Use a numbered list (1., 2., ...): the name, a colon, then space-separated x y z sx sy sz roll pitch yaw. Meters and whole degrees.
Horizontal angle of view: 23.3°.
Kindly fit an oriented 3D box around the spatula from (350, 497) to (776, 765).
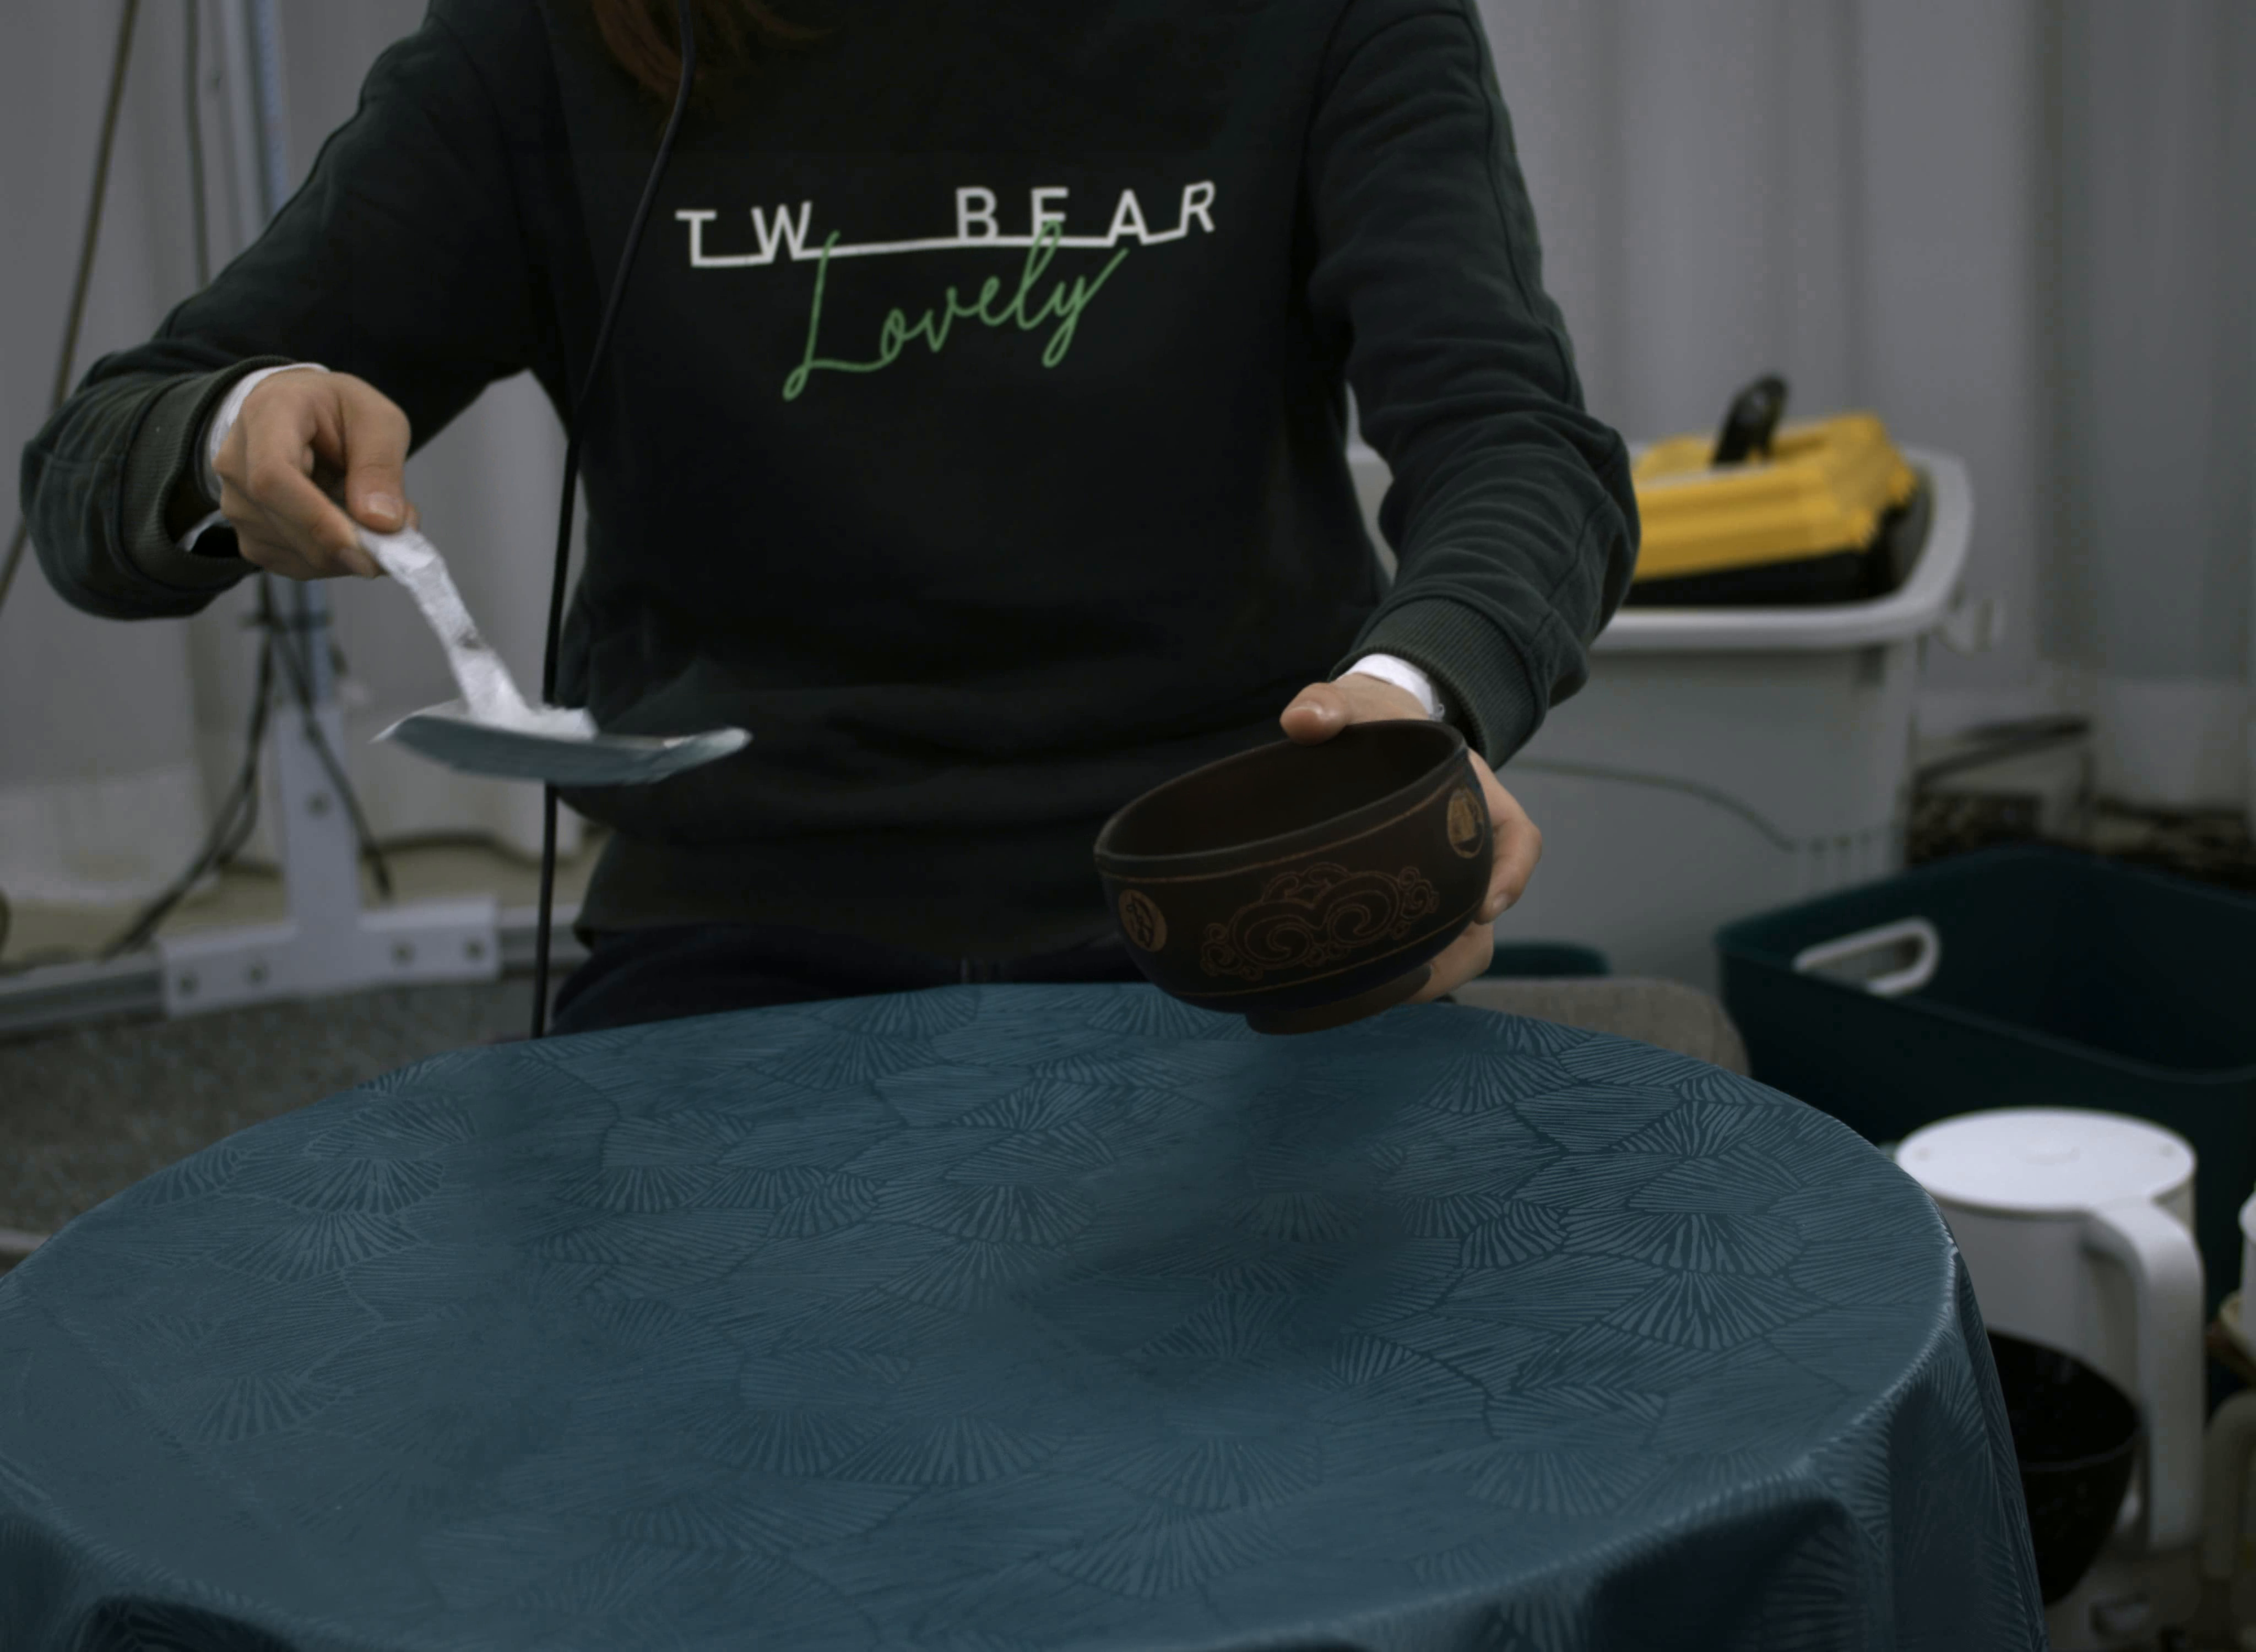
1. spatula: -0.198 -0.070 1.679 0.098 0.044 0.368 2 17 -20

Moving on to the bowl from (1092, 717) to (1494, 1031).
1. bowl: 0.053 0.019 1.628 0.117 0.069 0.119 -14 13 3
